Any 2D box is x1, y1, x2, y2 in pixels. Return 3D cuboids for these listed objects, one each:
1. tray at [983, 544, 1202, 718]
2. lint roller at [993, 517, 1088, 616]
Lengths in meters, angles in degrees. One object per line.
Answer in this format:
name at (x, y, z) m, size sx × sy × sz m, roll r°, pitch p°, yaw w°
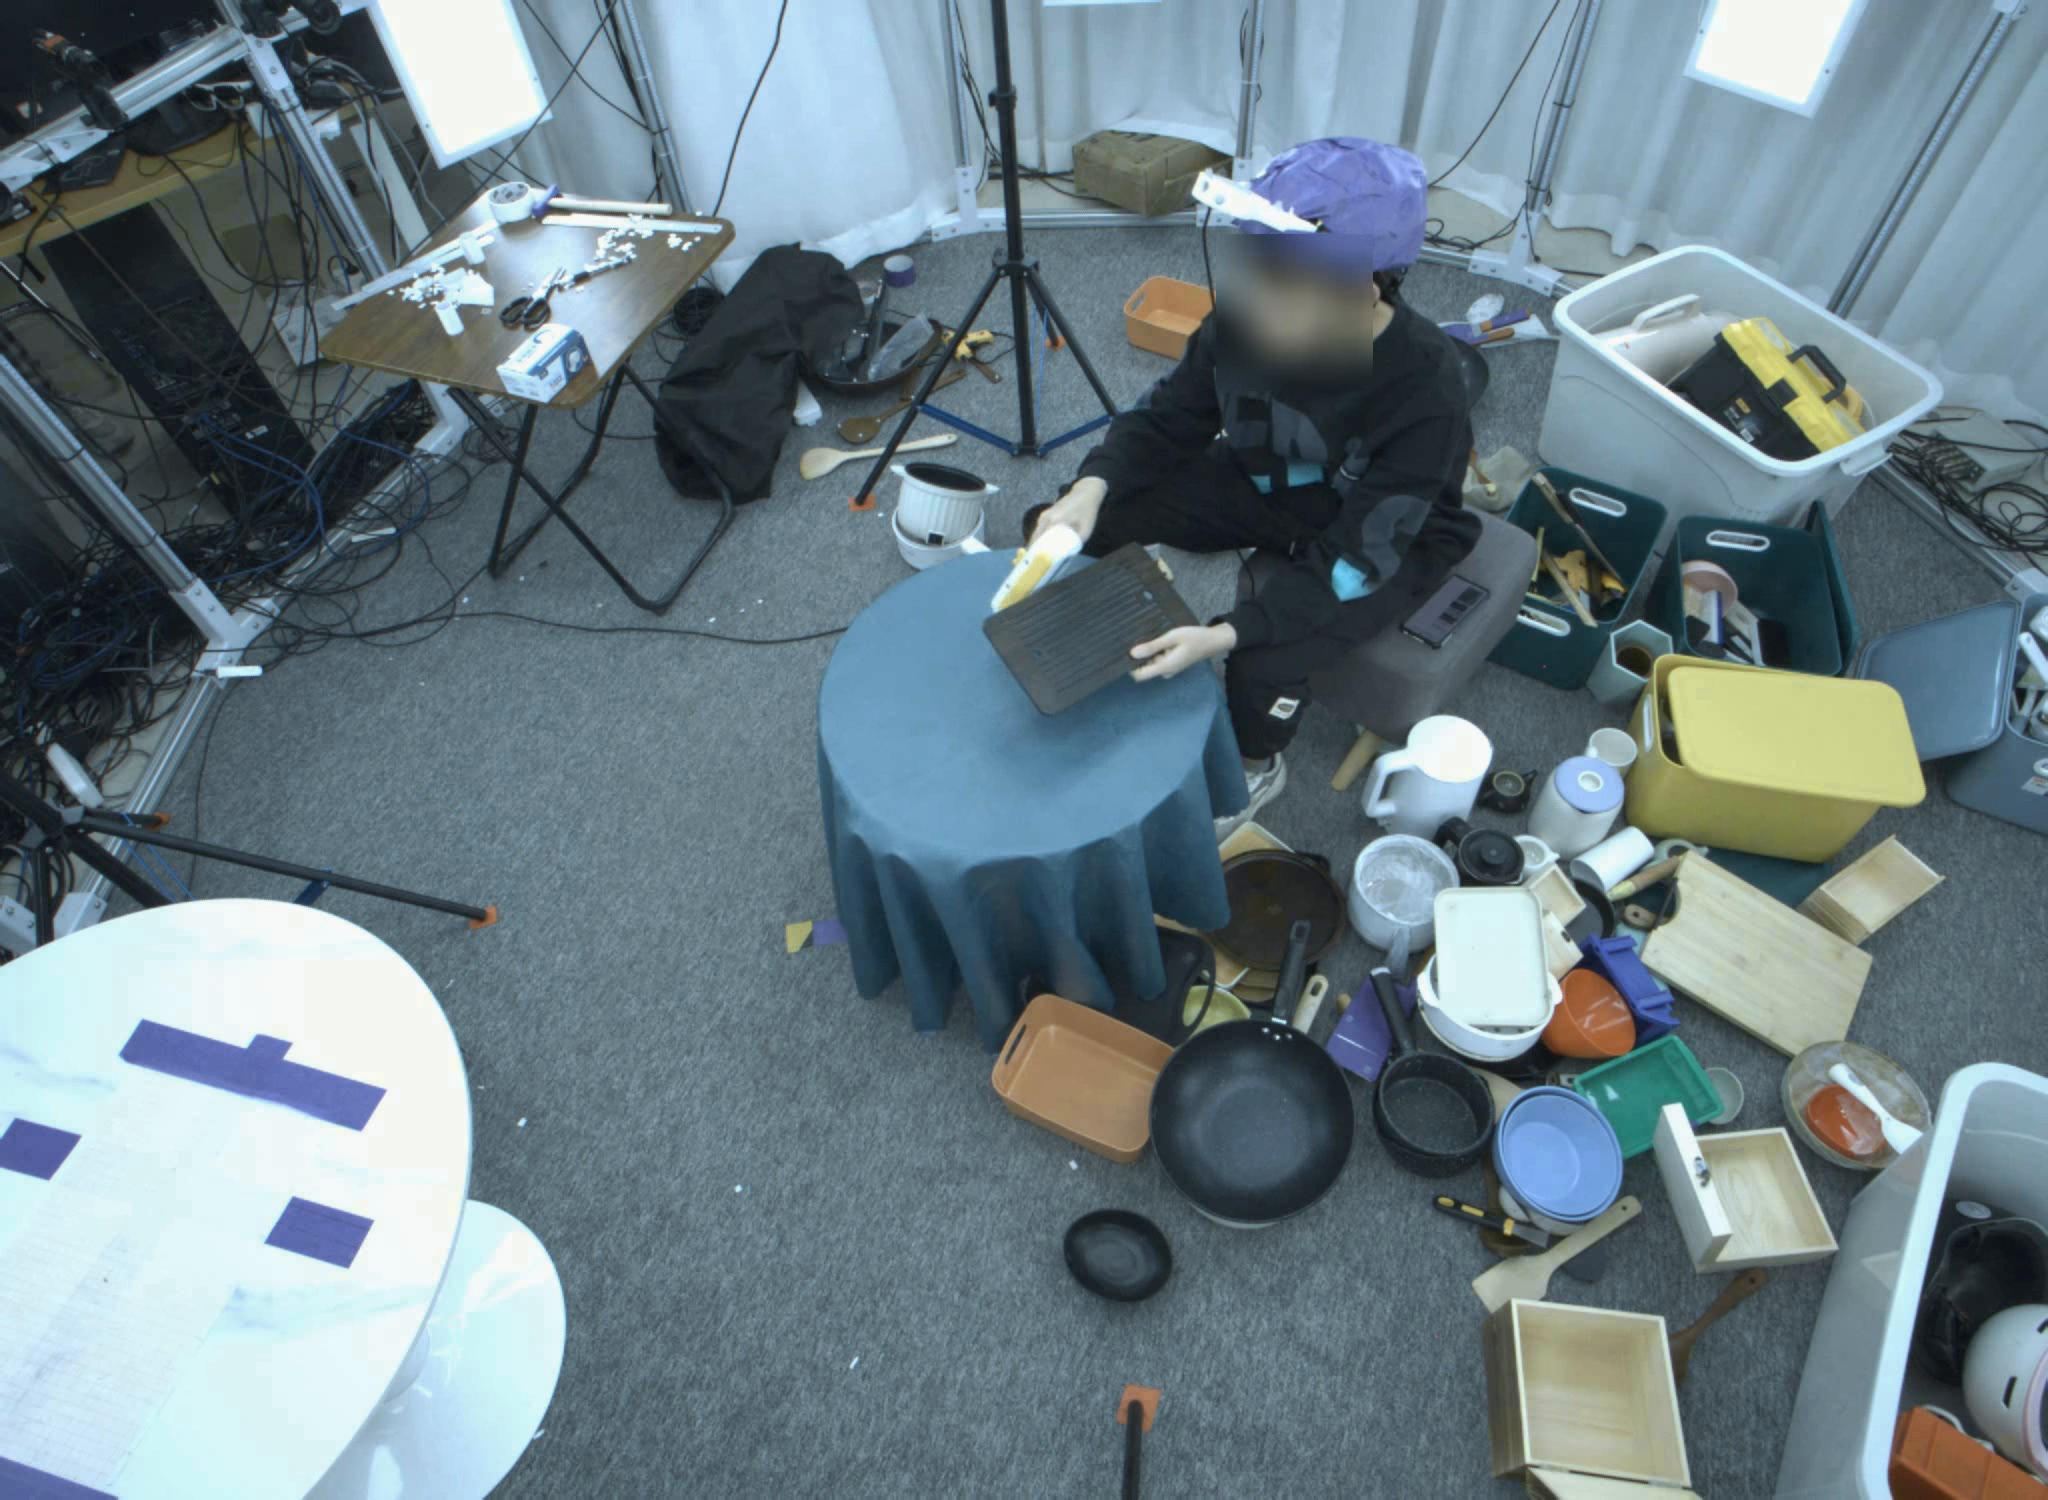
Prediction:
tray at (0.102, -0.176, 1.778) m, size 0.309 × 0.018 × 0.169 m, roll -30°, pitch 81°, yaw -27°
lint roller at (0.041, -0.292, 1.838) m, size 0.074 × 0.192 × 0.193 m, roll 39°, pitch 40°, yaw 3°
